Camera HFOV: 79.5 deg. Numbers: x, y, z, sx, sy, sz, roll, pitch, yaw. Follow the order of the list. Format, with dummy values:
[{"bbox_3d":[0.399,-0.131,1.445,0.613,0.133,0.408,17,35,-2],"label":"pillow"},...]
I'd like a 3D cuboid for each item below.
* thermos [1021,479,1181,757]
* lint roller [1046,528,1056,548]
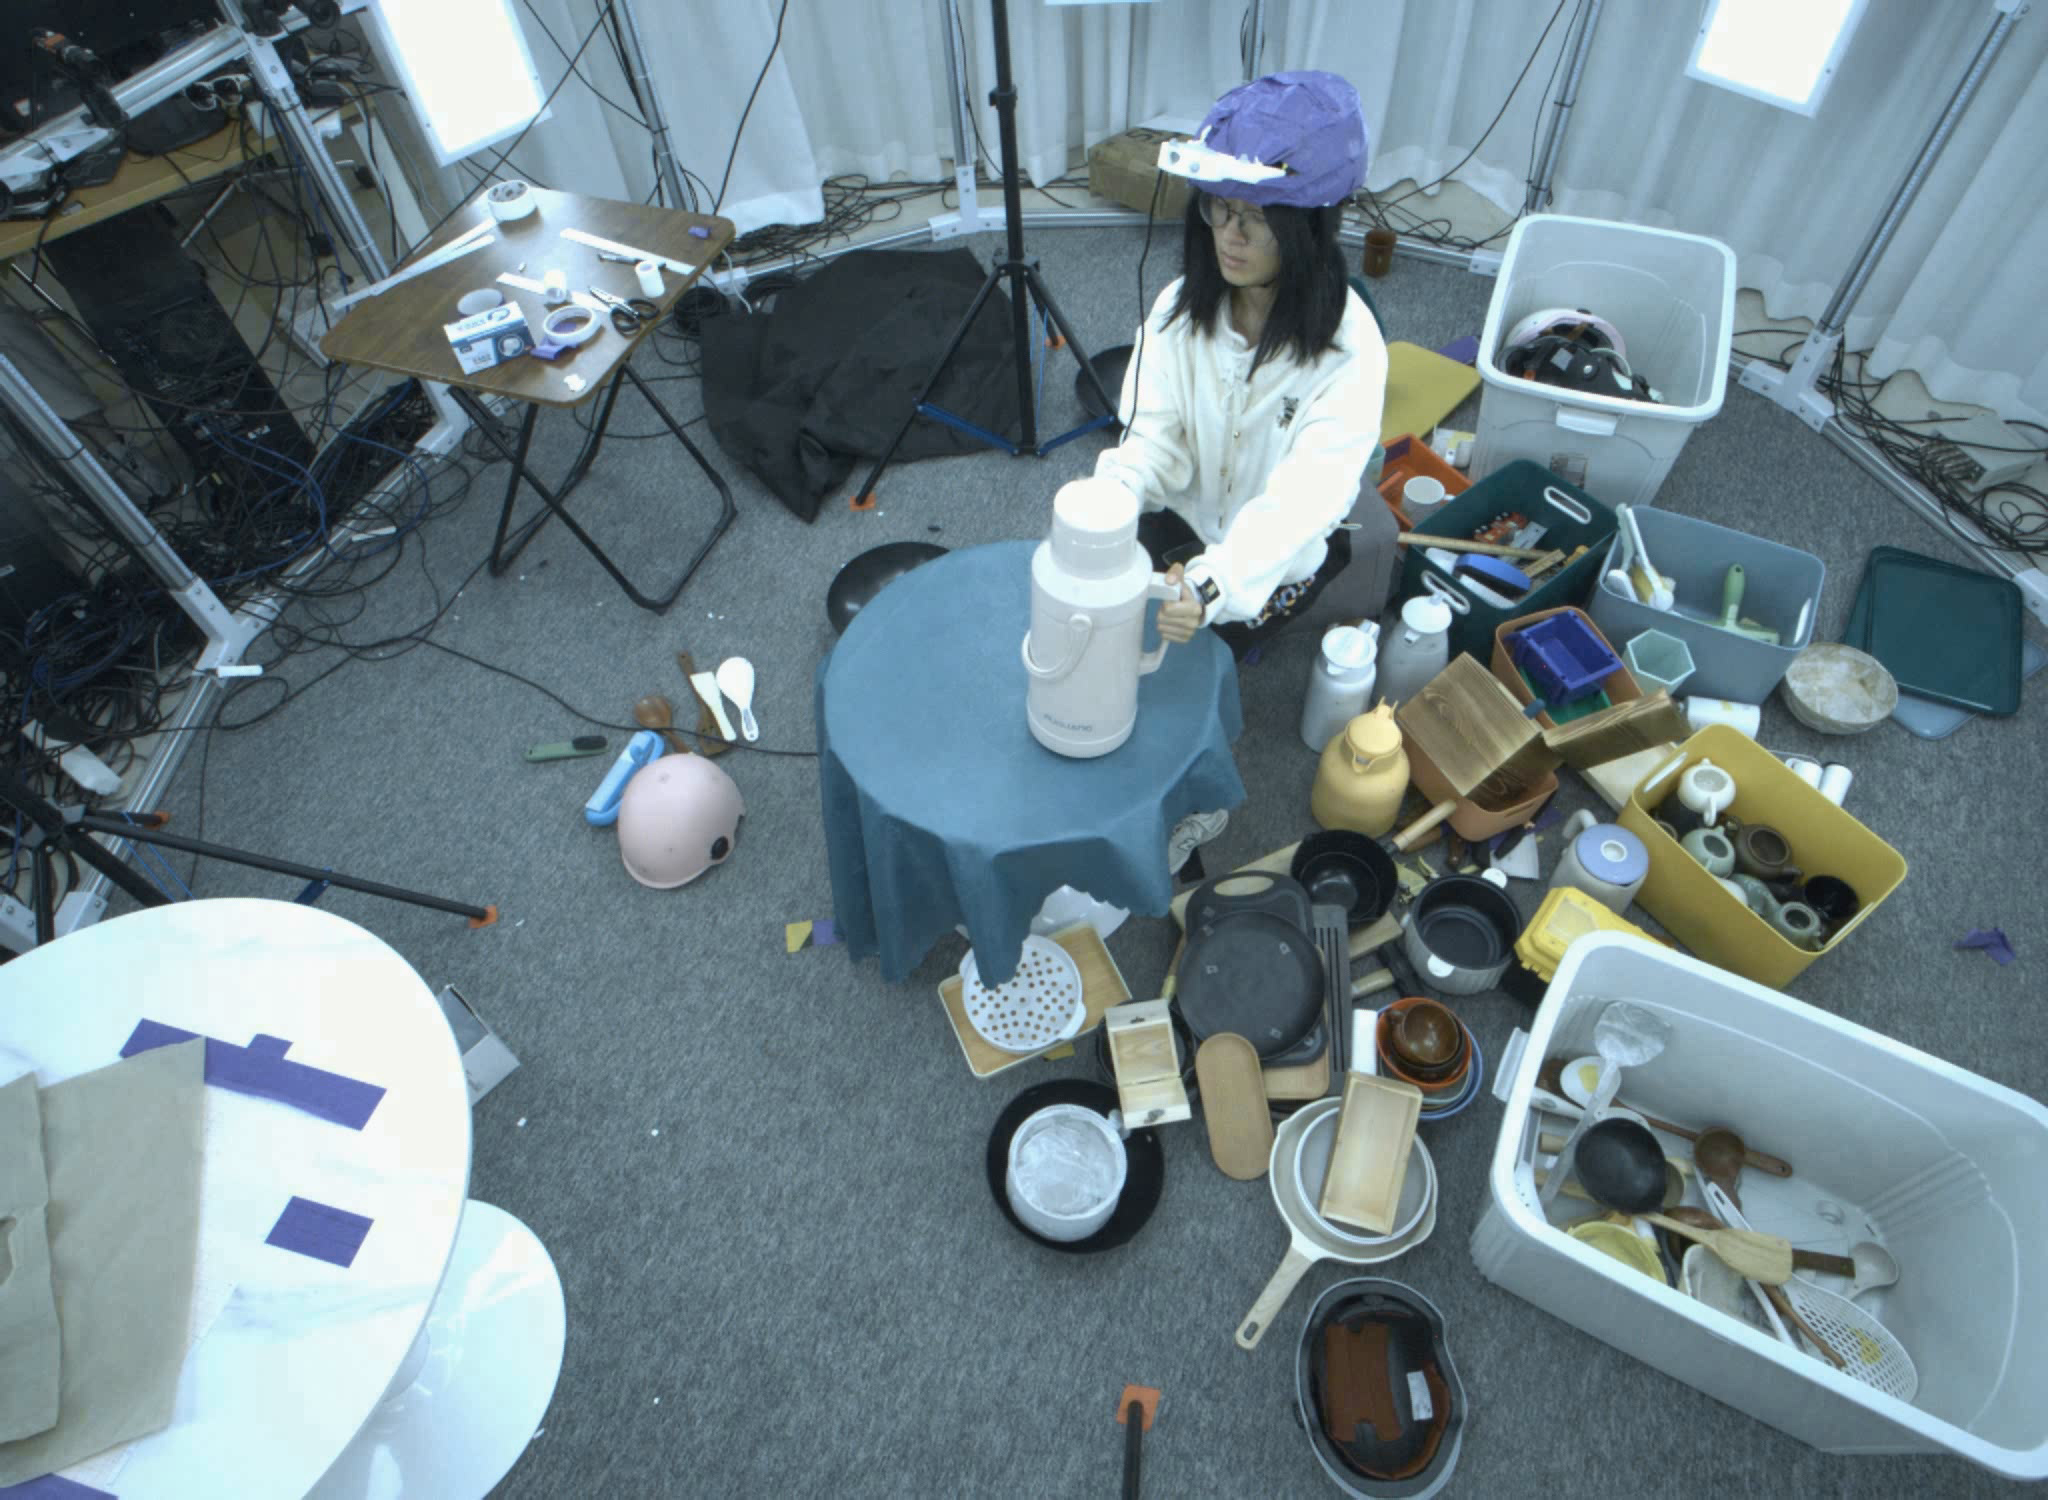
[{"bbox_3d":[0.099,-0.170,1.654,0.206,0.410,0.174,9,51,6],"label":"thermos"},{"bbox_3d":[0.070,-0.300,1.742,0.050,0.133,0.180,20,48,6],"label":"lint roller"}]
